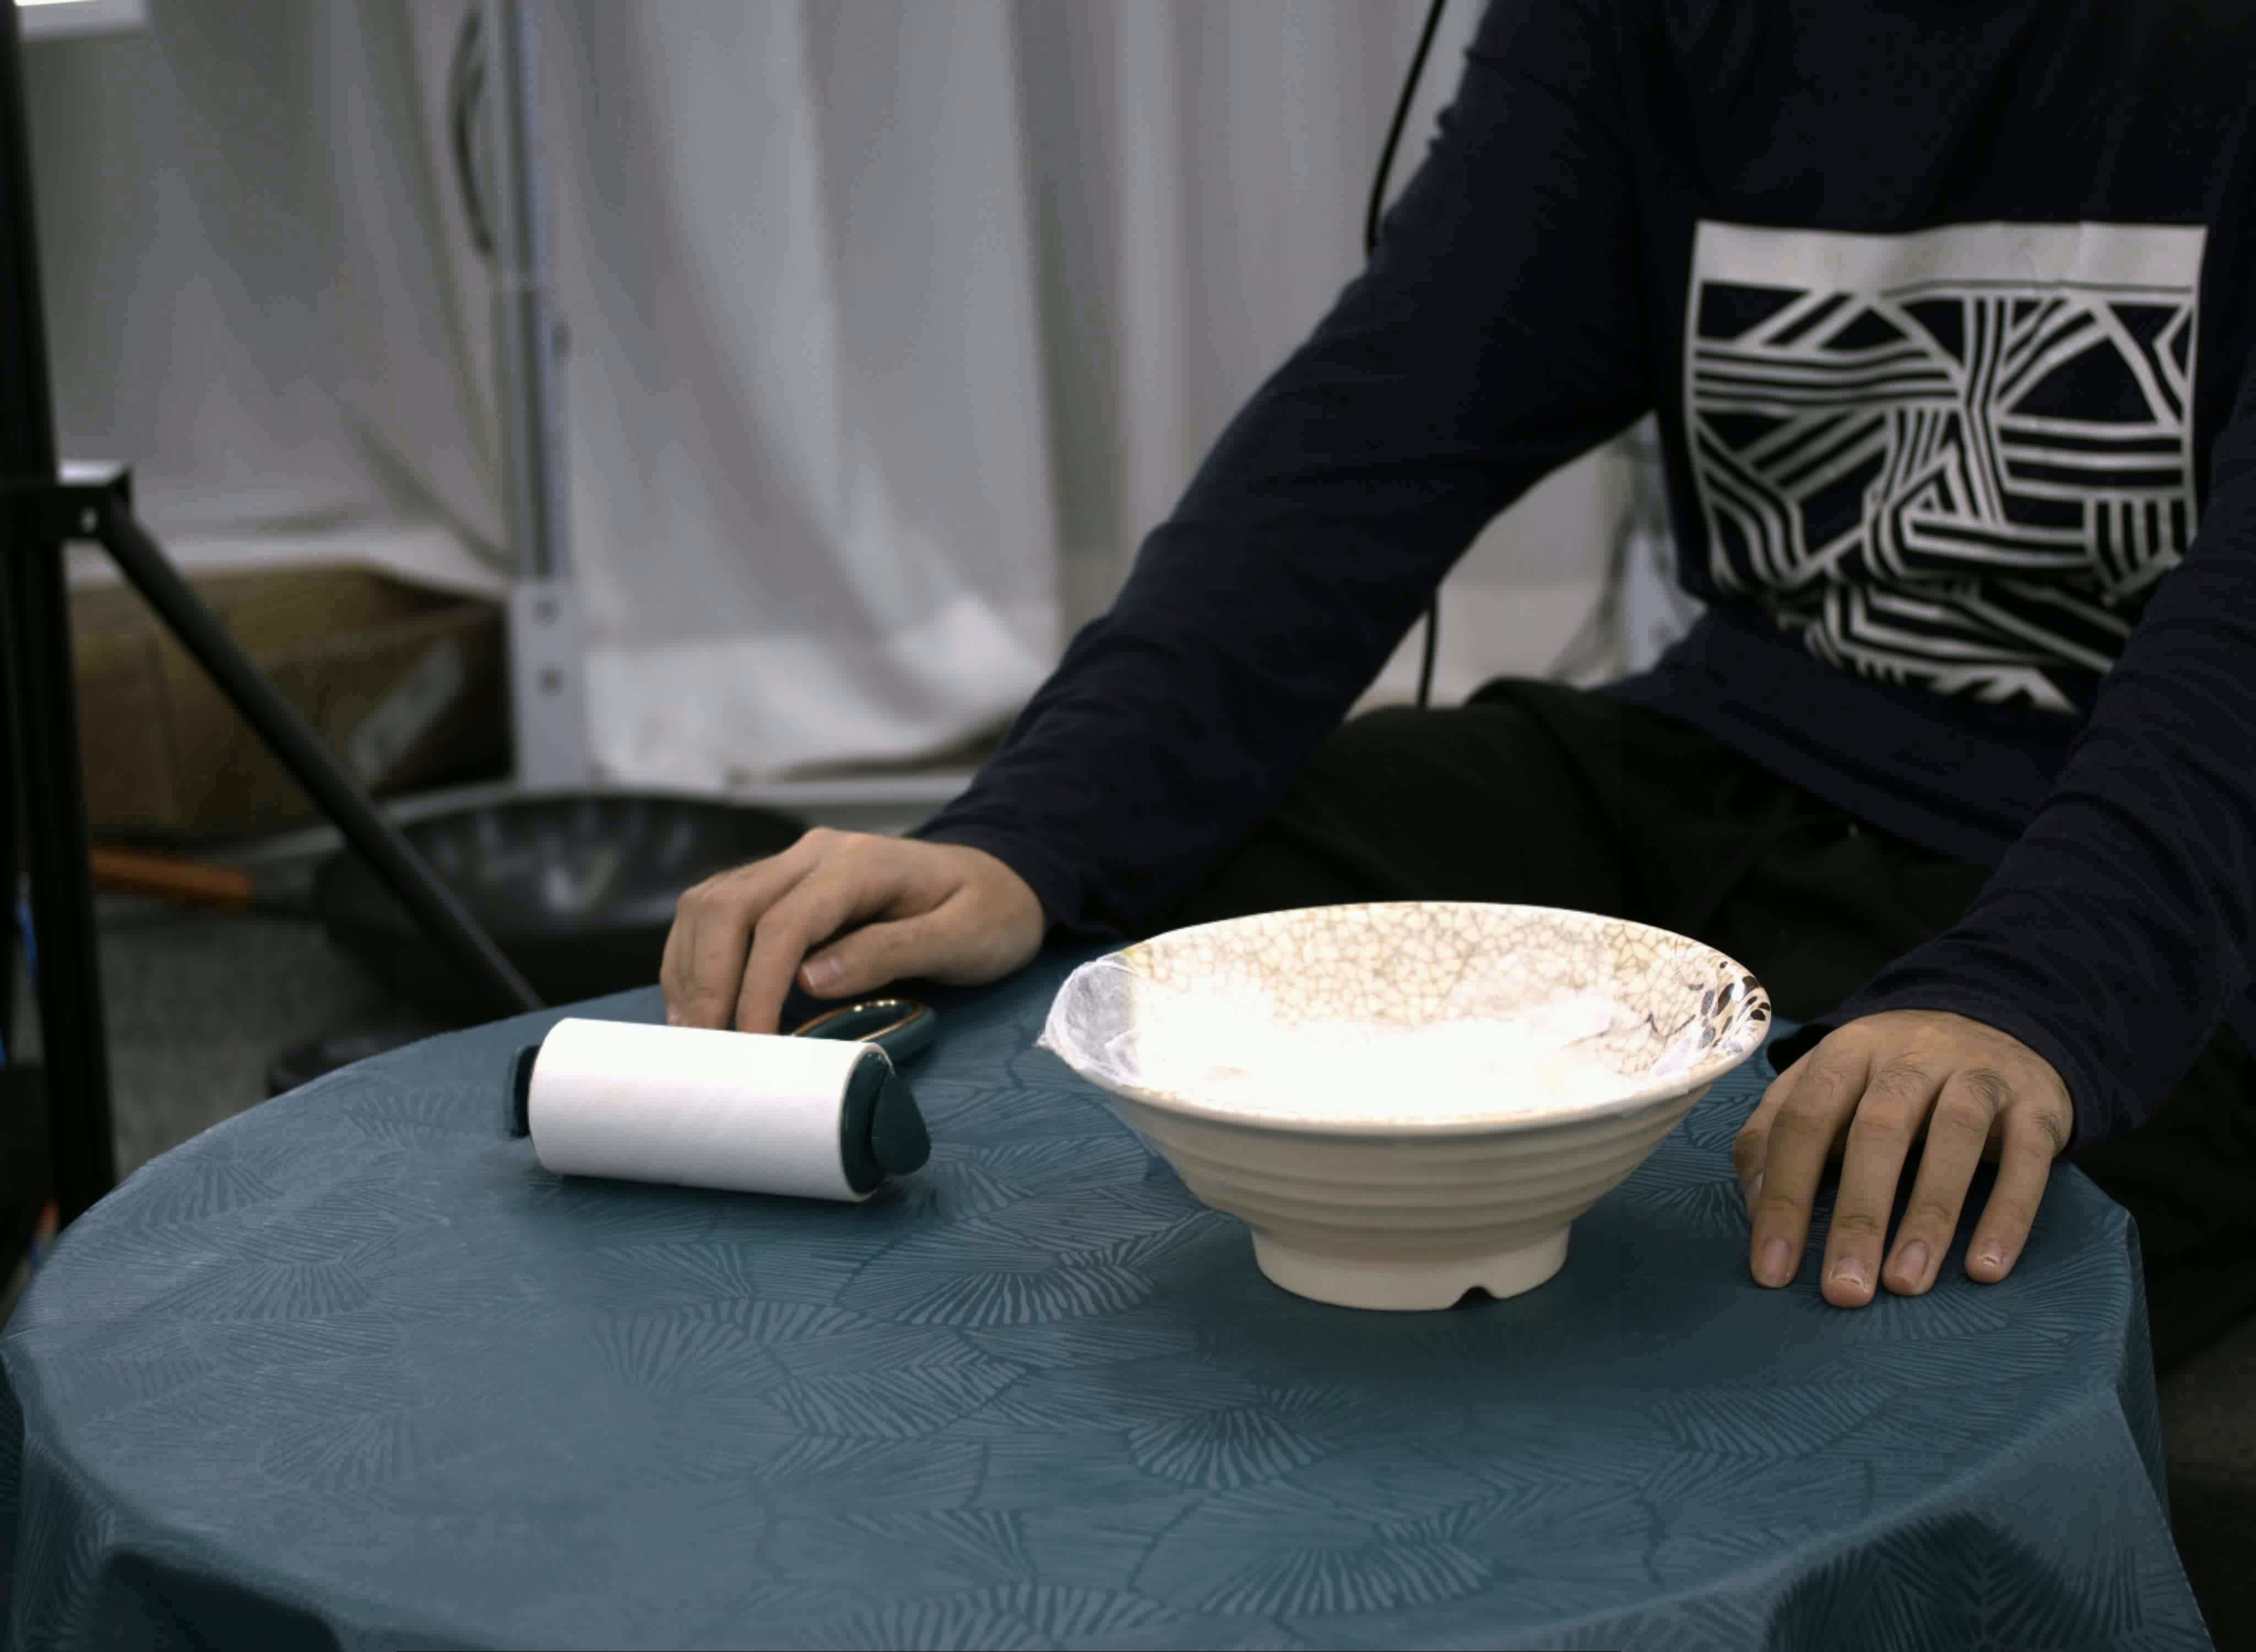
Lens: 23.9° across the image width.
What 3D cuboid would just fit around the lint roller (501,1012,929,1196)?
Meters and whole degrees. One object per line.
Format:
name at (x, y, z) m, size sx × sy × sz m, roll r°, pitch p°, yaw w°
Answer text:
lint roller at (-0.101, 0.071, 1.641) m, size 0.136 × 0.048 × 0.177 m, roll 3°, pitch 12°, yaw 20°

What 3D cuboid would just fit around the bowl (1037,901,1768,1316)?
bowl at (0.076, 0.086, 1.487) m, size 0.203 × 0.078 × 0.205 m, roll -1°, pitch 15°, yaw -1°
